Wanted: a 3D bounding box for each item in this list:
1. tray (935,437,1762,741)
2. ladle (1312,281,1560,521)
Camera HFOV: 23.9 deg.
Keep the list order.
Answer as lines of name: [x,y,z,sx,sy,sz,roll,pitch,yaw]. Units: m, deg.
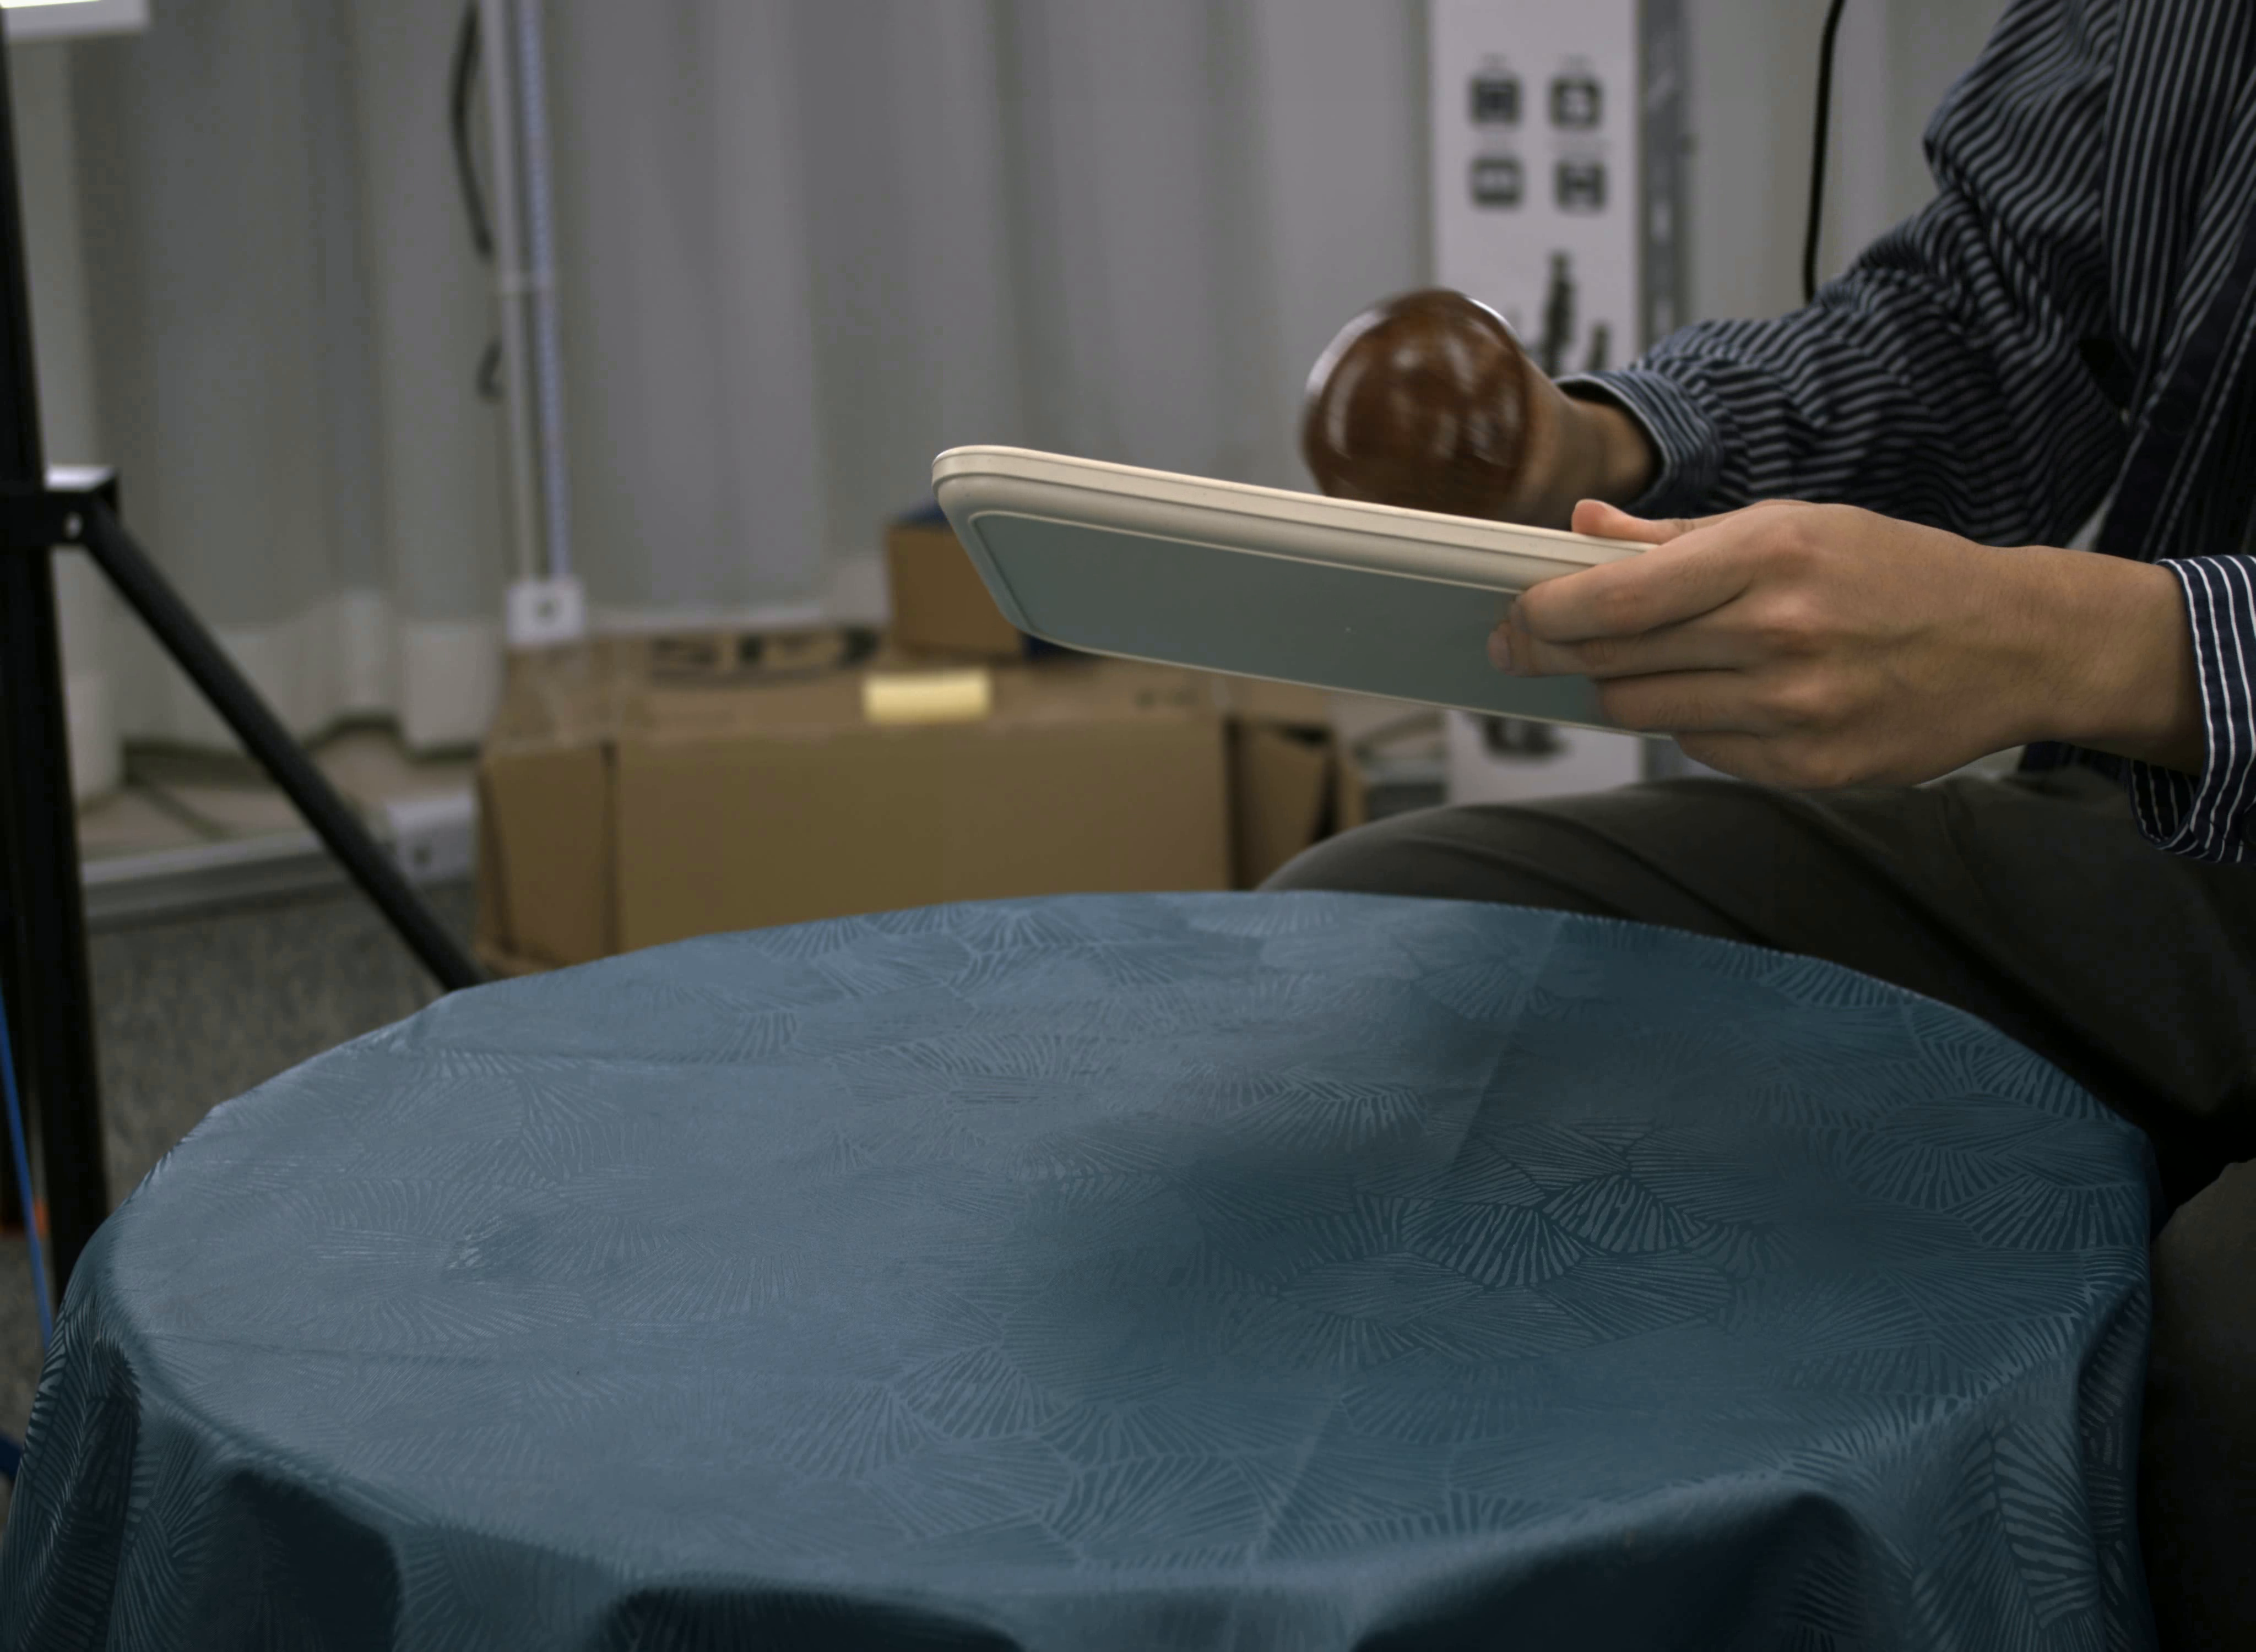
tray: [0.066,-0.065,1.555,0.241,0.017,0.169,10,-13,12]
ladle: [0.104,-0.118,1.664,0.077,0.082,0.272,14,1,8]
